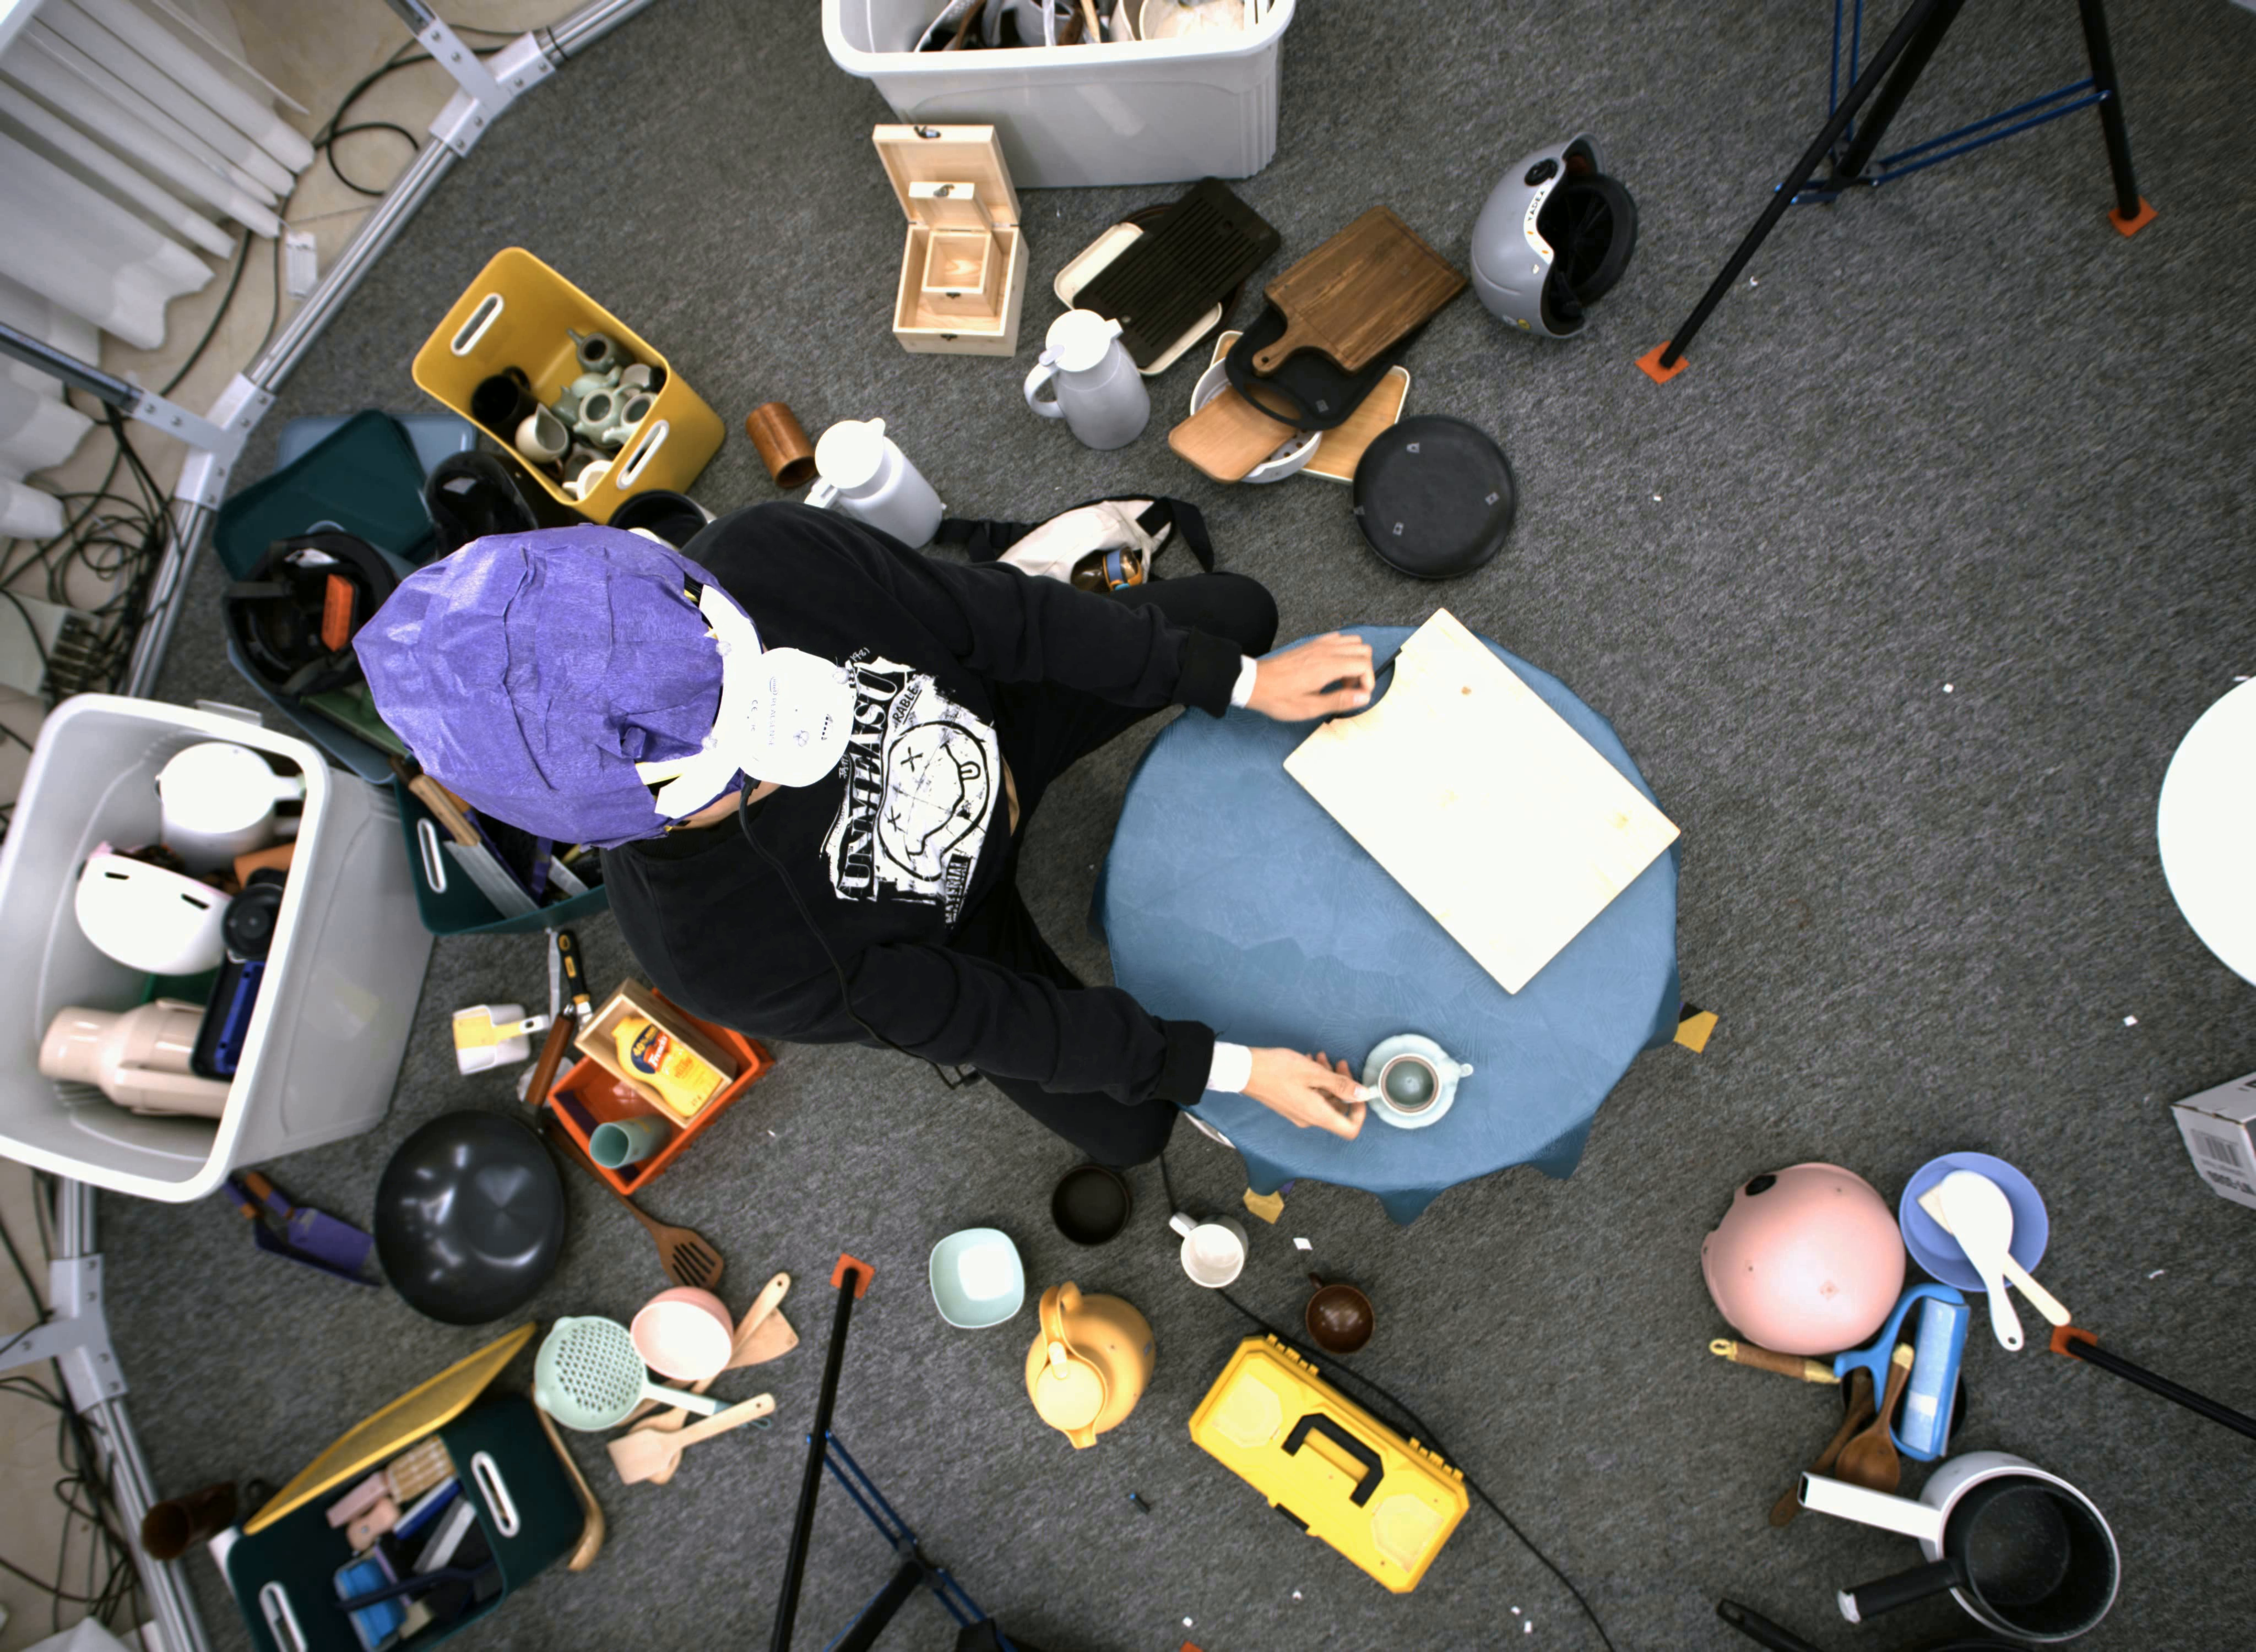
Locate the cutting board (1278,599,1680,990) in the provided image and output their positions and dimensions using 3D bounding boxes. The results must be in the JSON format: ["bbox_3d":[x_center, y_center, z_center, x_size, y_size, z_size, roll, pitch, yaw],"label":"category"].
[{"bbox_3d":[0.362,-0.035,1.441,0.347,0.023,0.252,45,95,10],"label":"cutting board"}]

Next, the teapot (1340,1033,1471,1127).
[{"bbox_3d":[0.284,0.261,1.419,0.138,0.061,0.095,-18,85,9],"label":"teapot"}]
